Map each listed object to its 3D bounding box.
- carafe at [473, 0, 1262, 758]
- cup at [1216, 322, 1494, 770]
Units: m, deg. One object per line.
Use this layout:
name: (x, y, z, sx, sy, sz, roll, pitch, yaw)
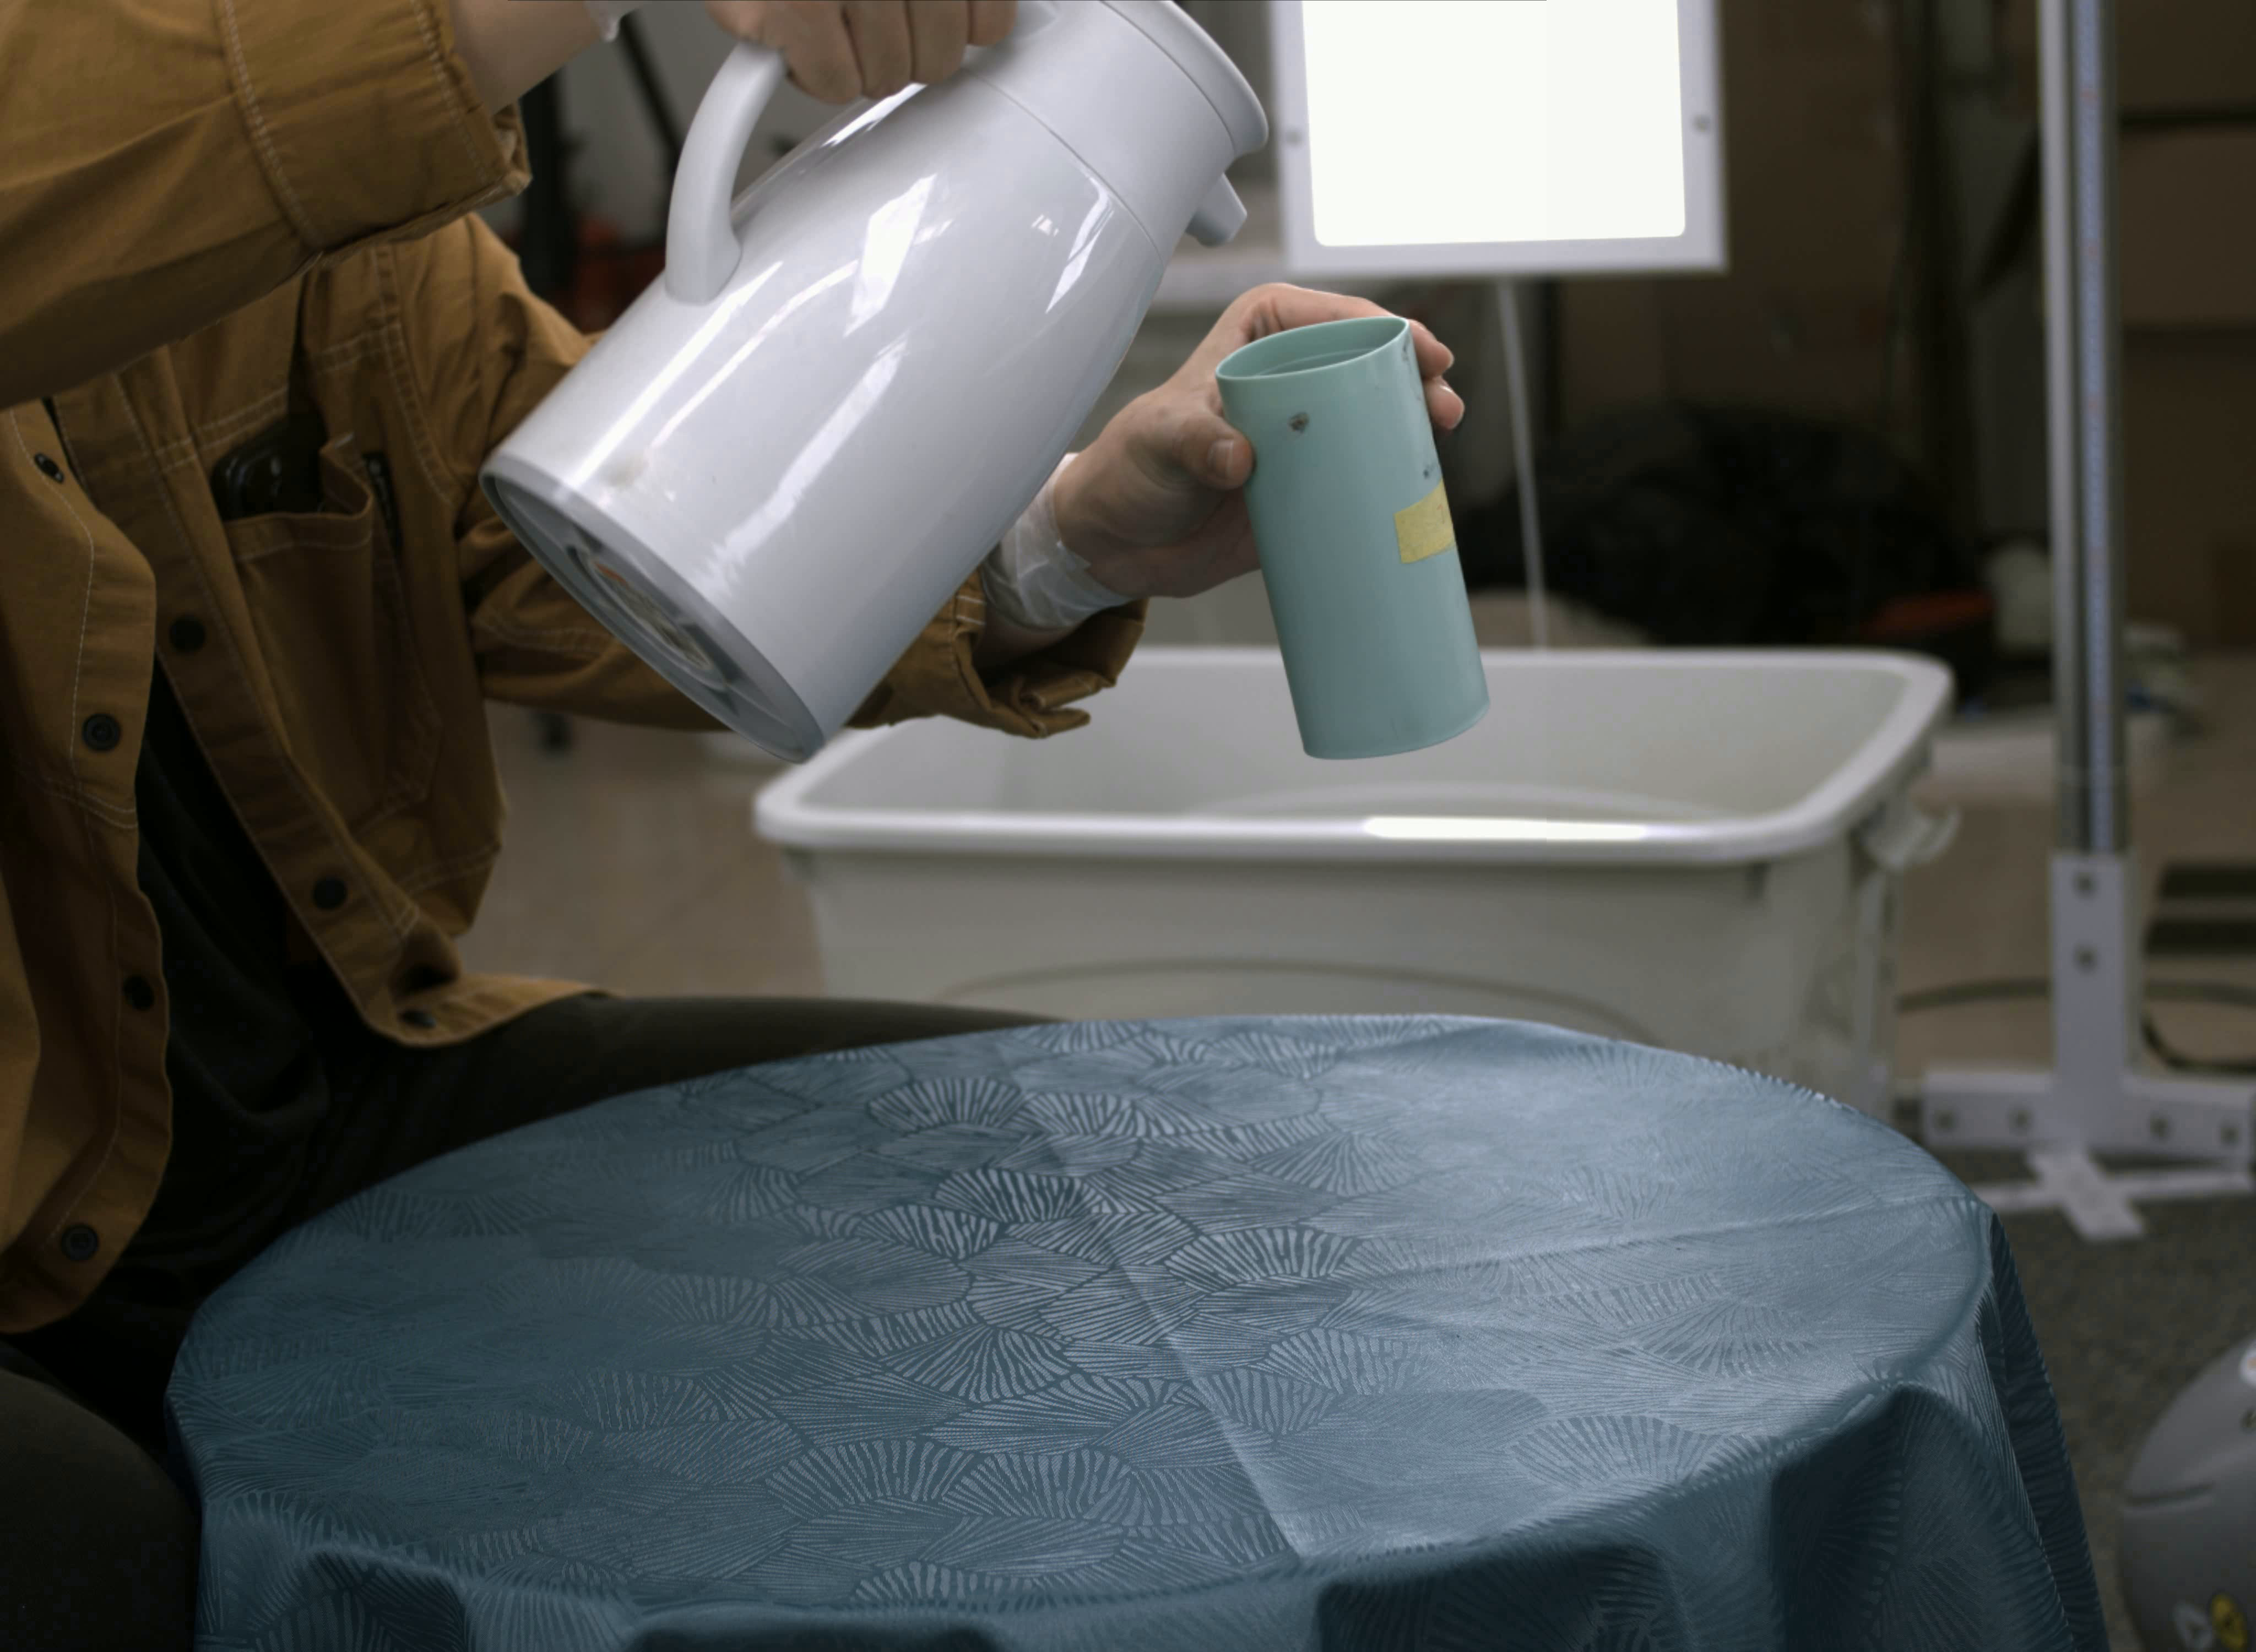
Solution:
carafe: (-0.077, -0.166, 1.657, 0.247, 0.166, 0.135, -49, 37, -9)
cup: (0.073, -0.091, 1.775, 0.067, 0.132, 0.066, -13, 17, 3)
